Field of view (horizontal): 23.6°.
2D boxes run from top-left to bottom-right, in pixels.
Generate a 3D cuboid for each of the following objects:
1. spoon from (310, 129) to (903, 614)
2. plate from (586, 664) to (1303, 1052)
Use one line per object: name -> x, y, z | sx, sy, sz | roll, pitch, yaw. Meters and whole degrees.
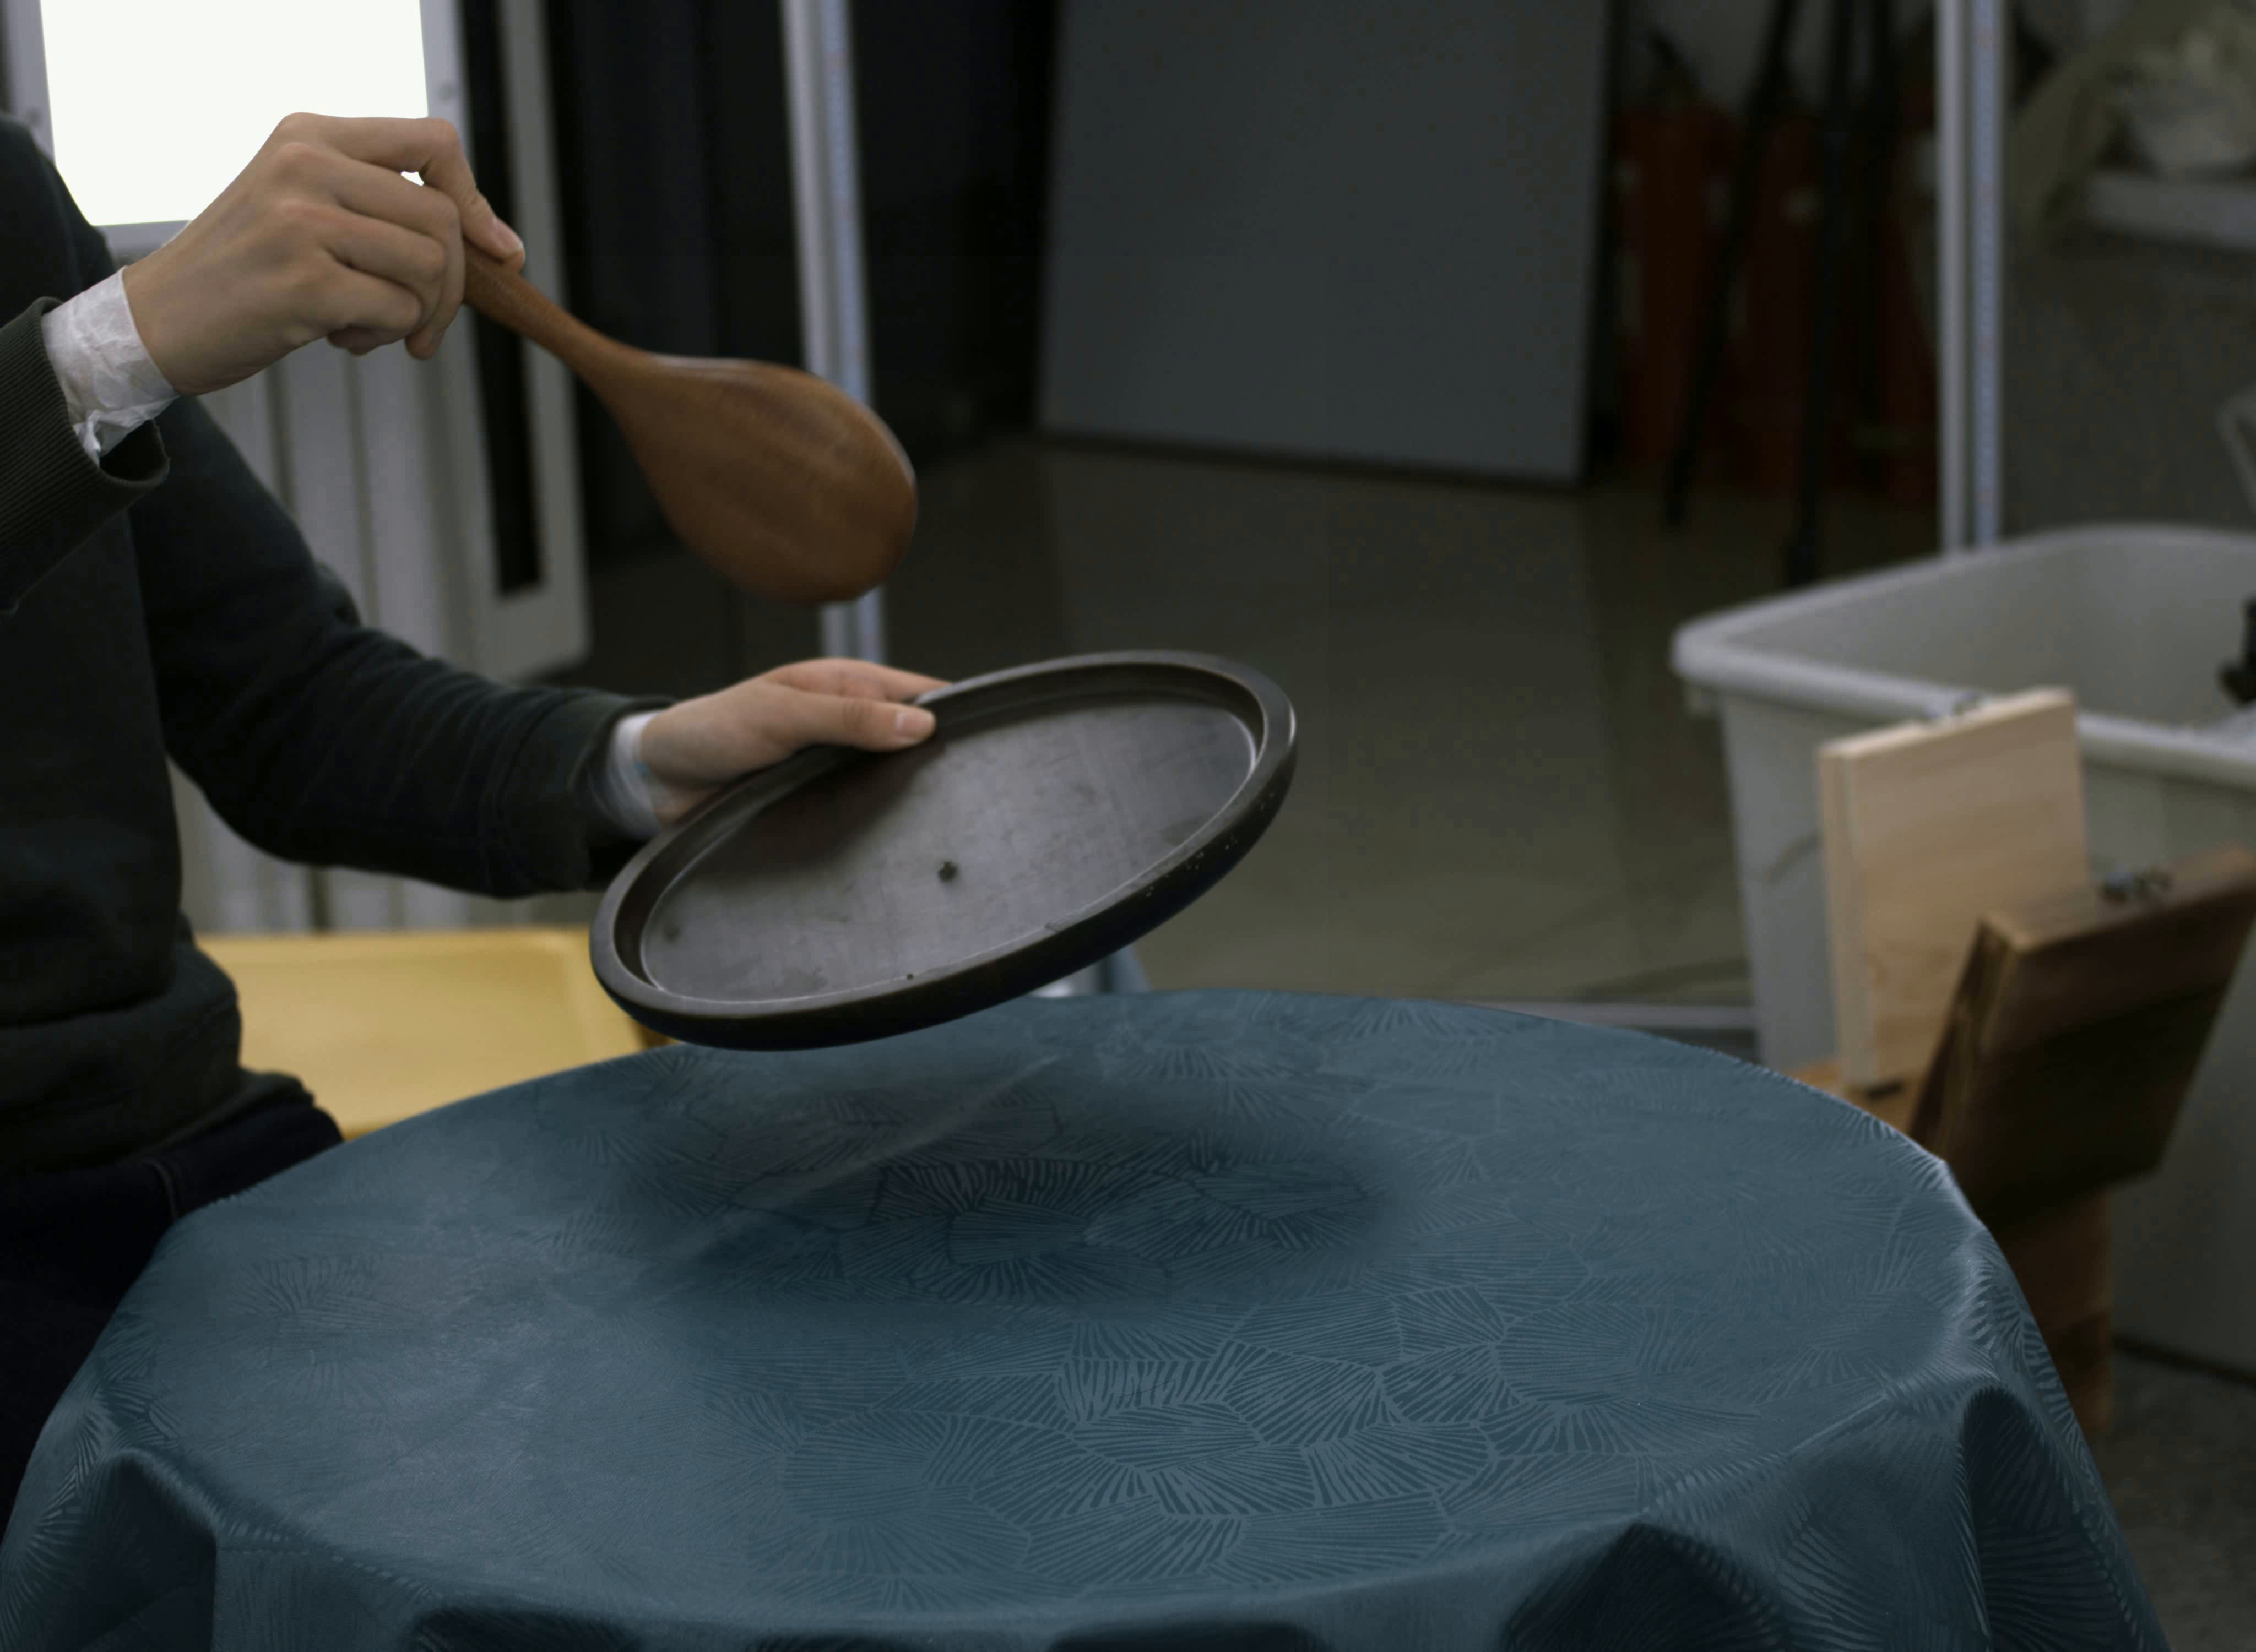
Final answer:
spoon -> -0.162, -0.142, 1.671 | 0.215, 0.076, 0.017 | 38, 26, -2
plate -> -0.060, 0.009, 1.812 | 0.253, 0.029, 0.255 | -17, 22, 6
